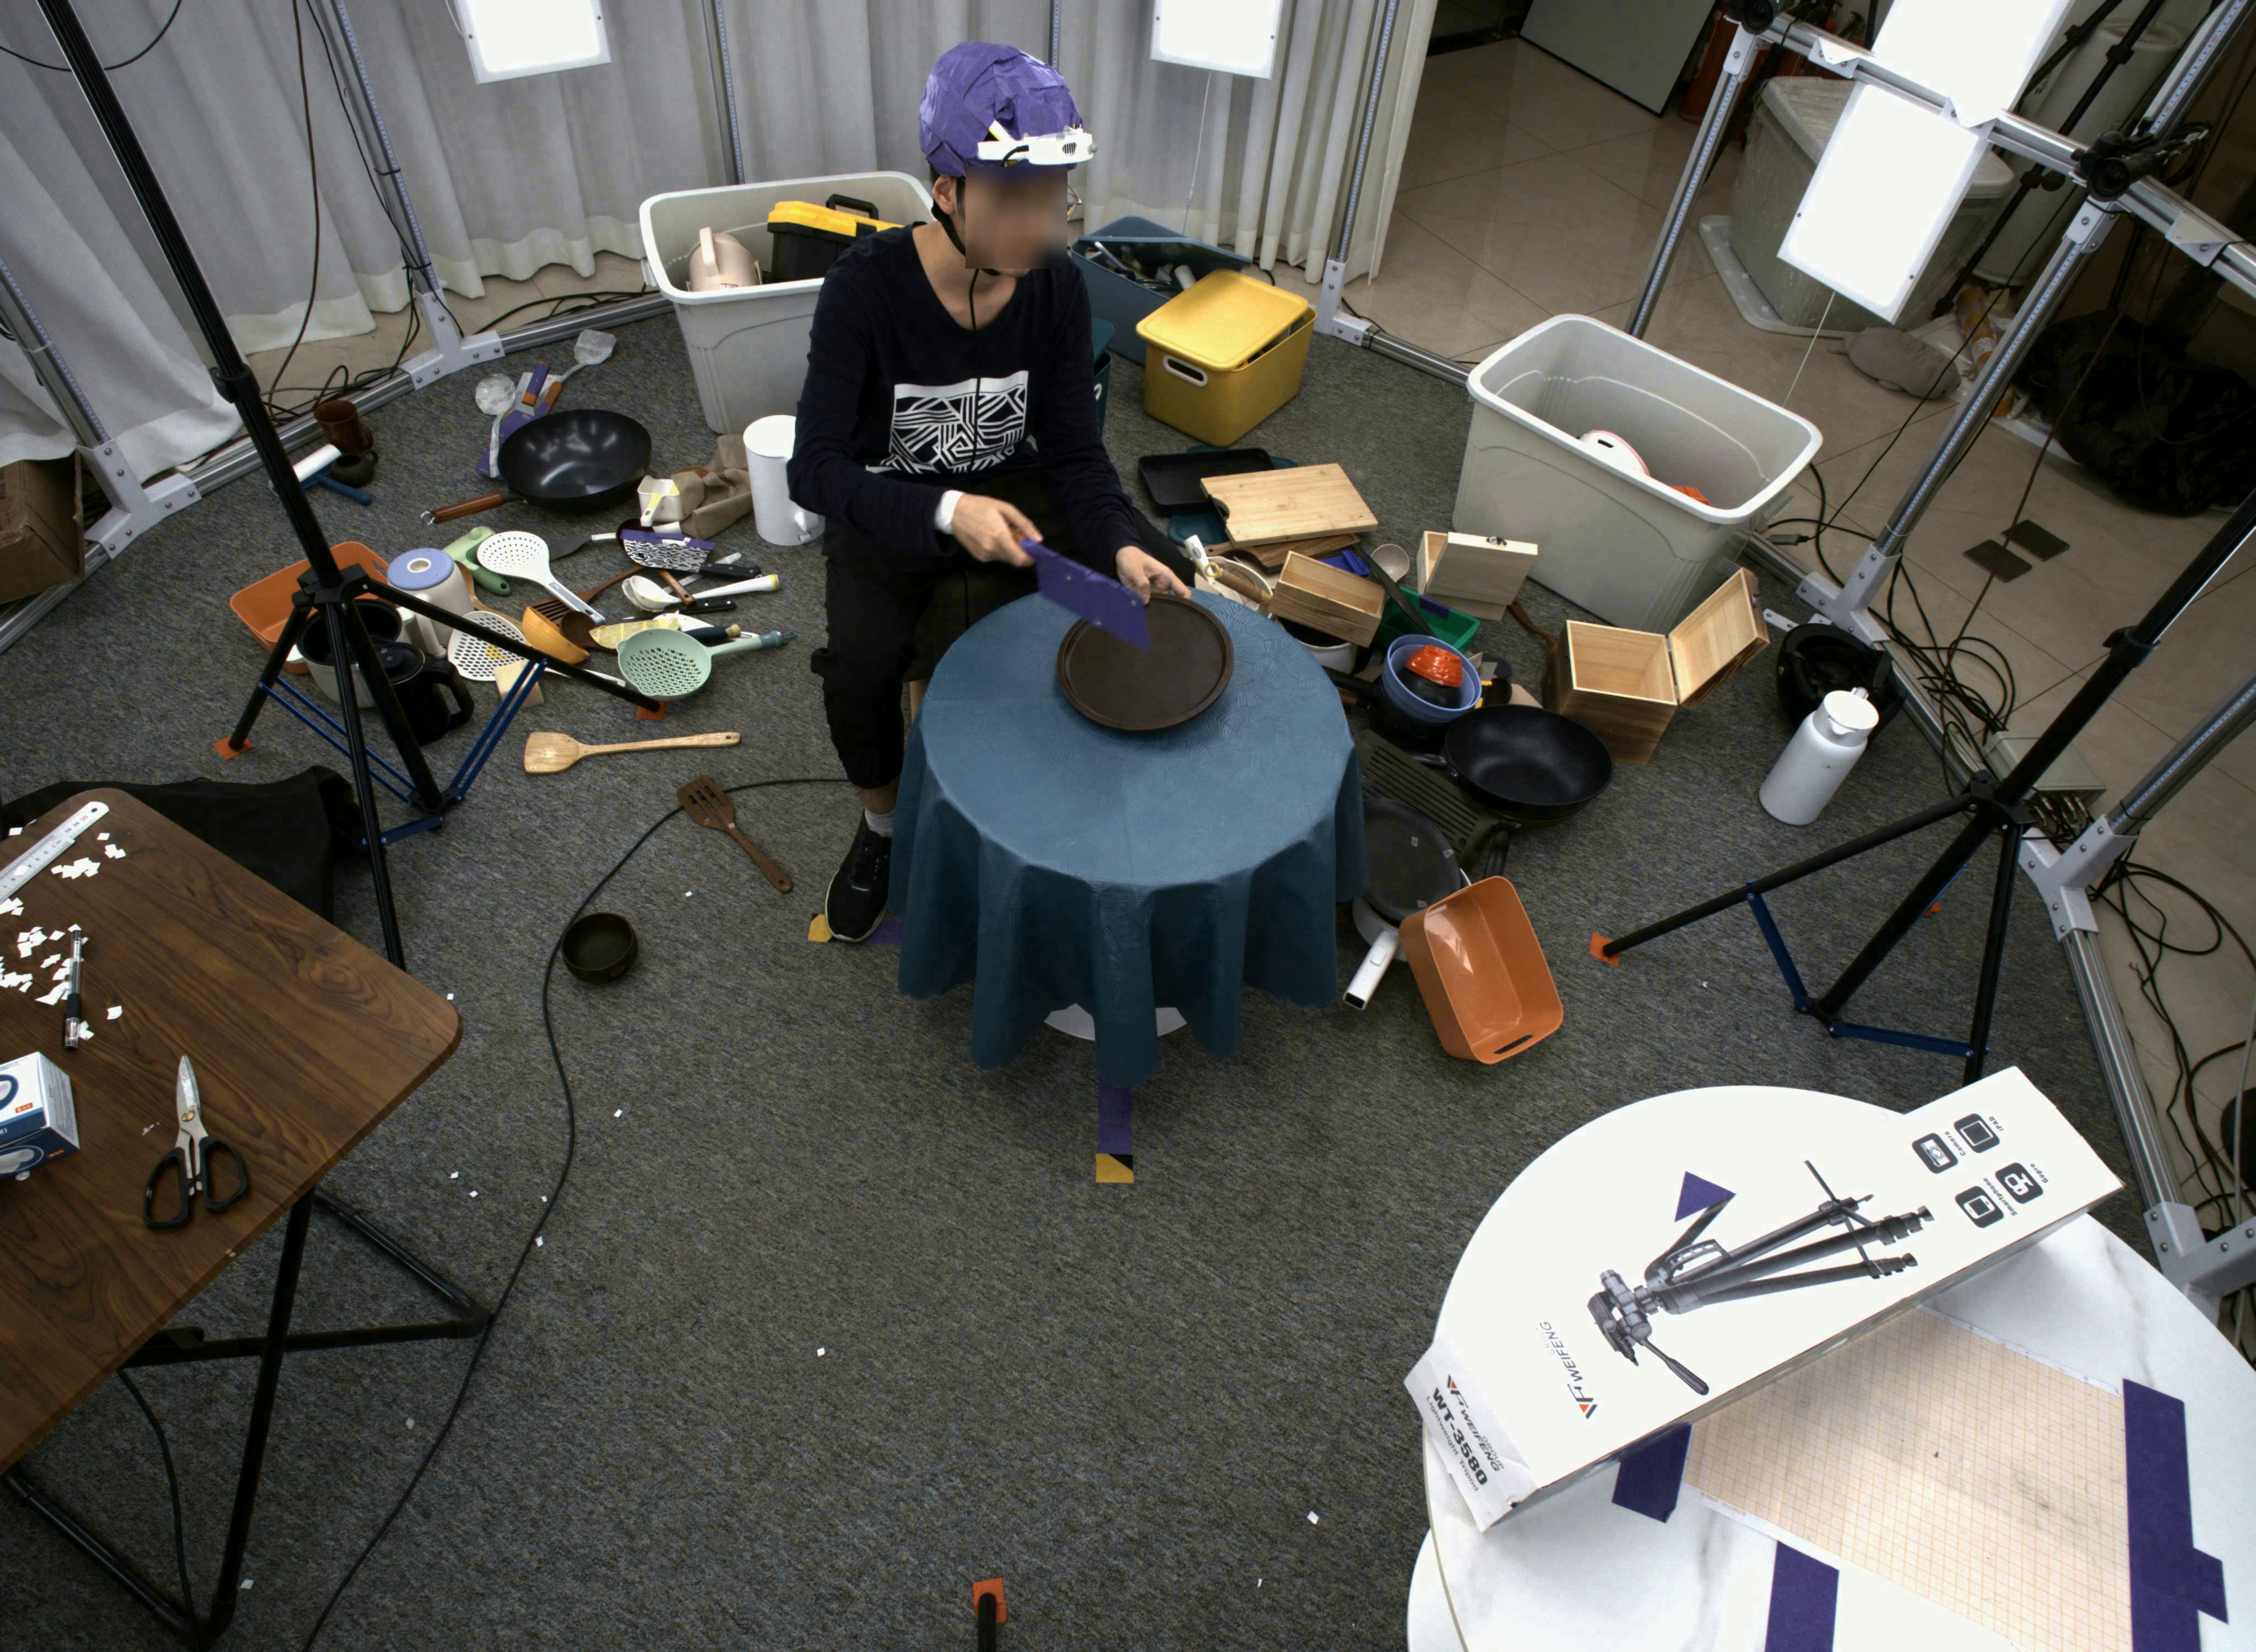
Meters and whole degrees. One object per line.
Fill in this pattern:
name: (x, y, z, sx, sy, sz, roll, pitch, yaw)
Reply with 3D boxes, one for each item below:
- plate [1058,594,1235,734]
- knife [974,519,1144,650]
plate: (0.026, -0.232, 1.828, 0.255, 0.028, 0.261, -3, 55, 4)
knife: (-0.095, -0.324, 1.740, 0.032, 0.101, 0.320, -34, 49, -27)
